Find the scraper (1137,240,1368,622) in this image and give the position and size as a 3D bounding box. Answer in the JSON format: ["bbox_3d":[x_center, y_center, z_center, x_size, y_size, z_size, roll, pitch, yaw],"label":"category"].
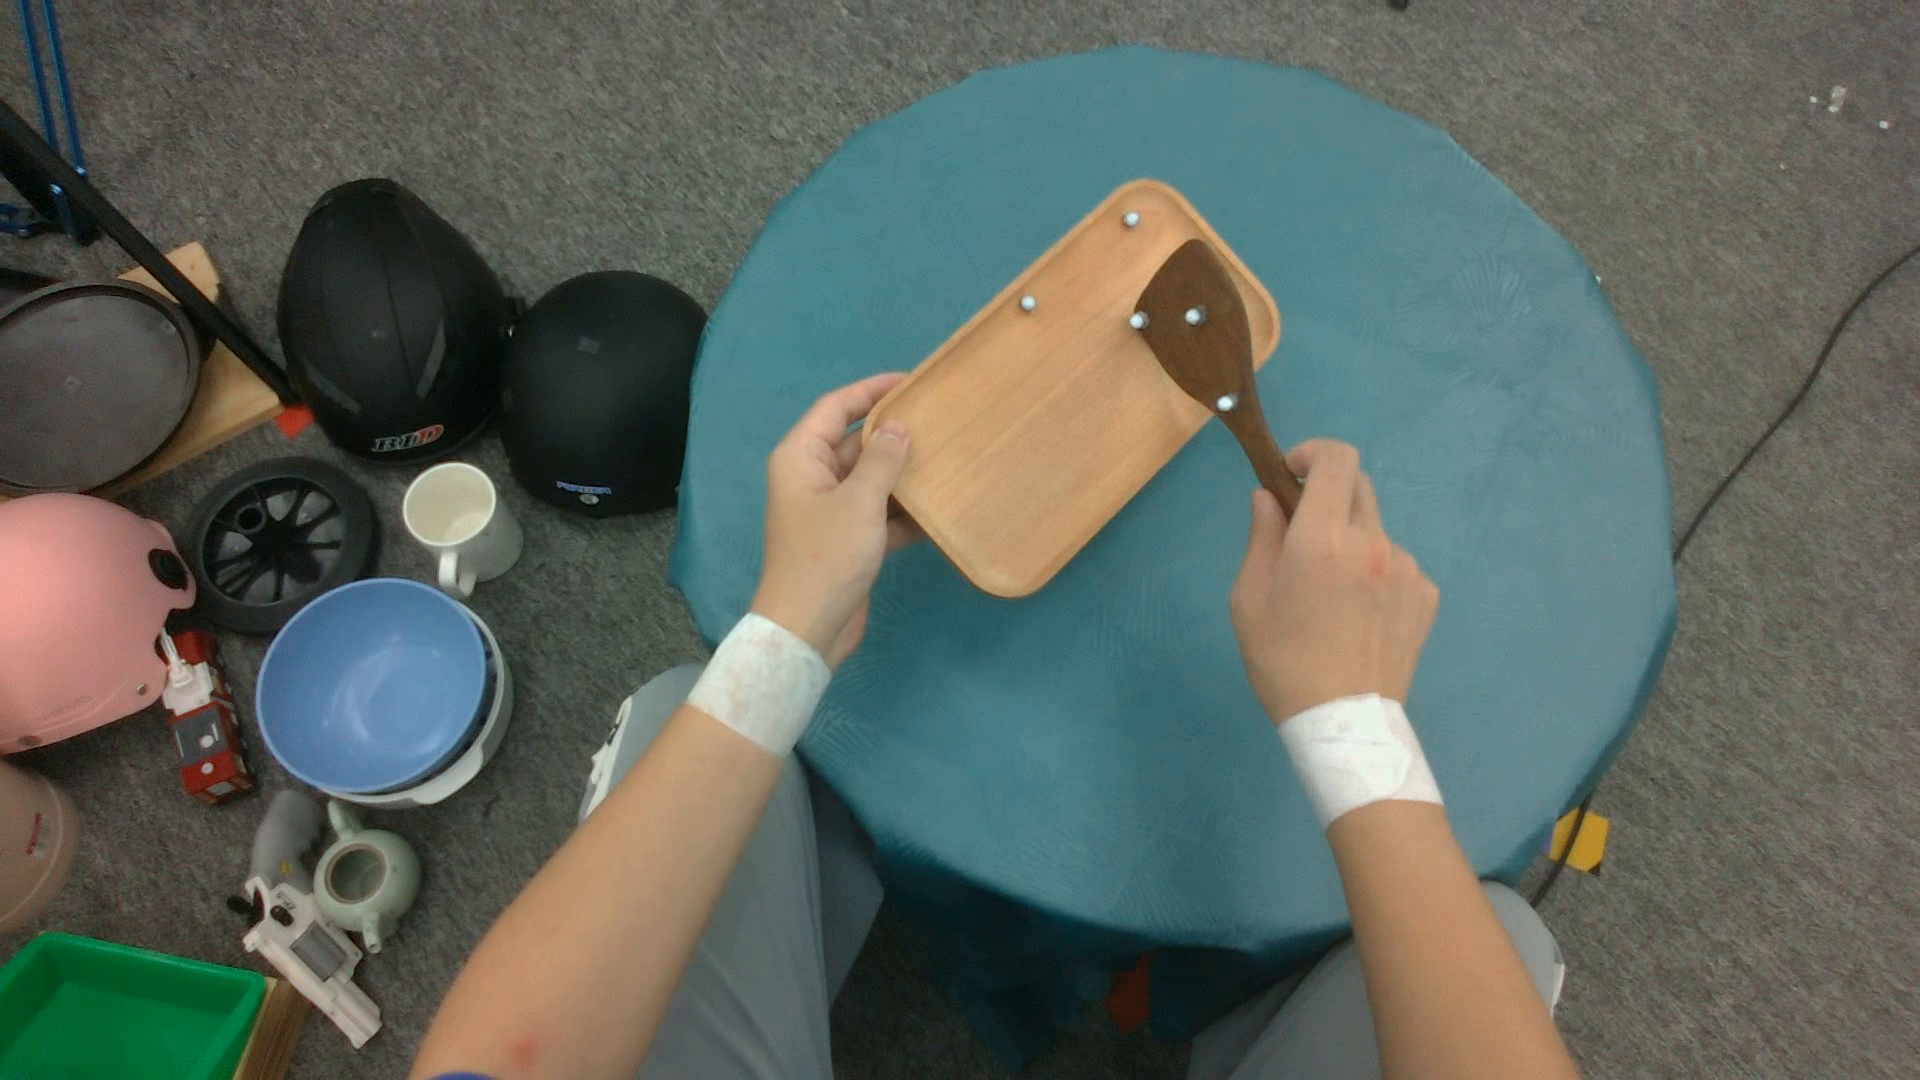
[{"bbox_3d":[0.155,-0.054,0.715,0.011,0.075,0.211,-14,71,-32],"label":"scraper"}]

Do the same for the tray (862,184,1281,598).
[{"bbox_3d":[0.066,-0.086,0.752,0.251,0.023,0.130,-43,89,-20],"label":"tray"}]
